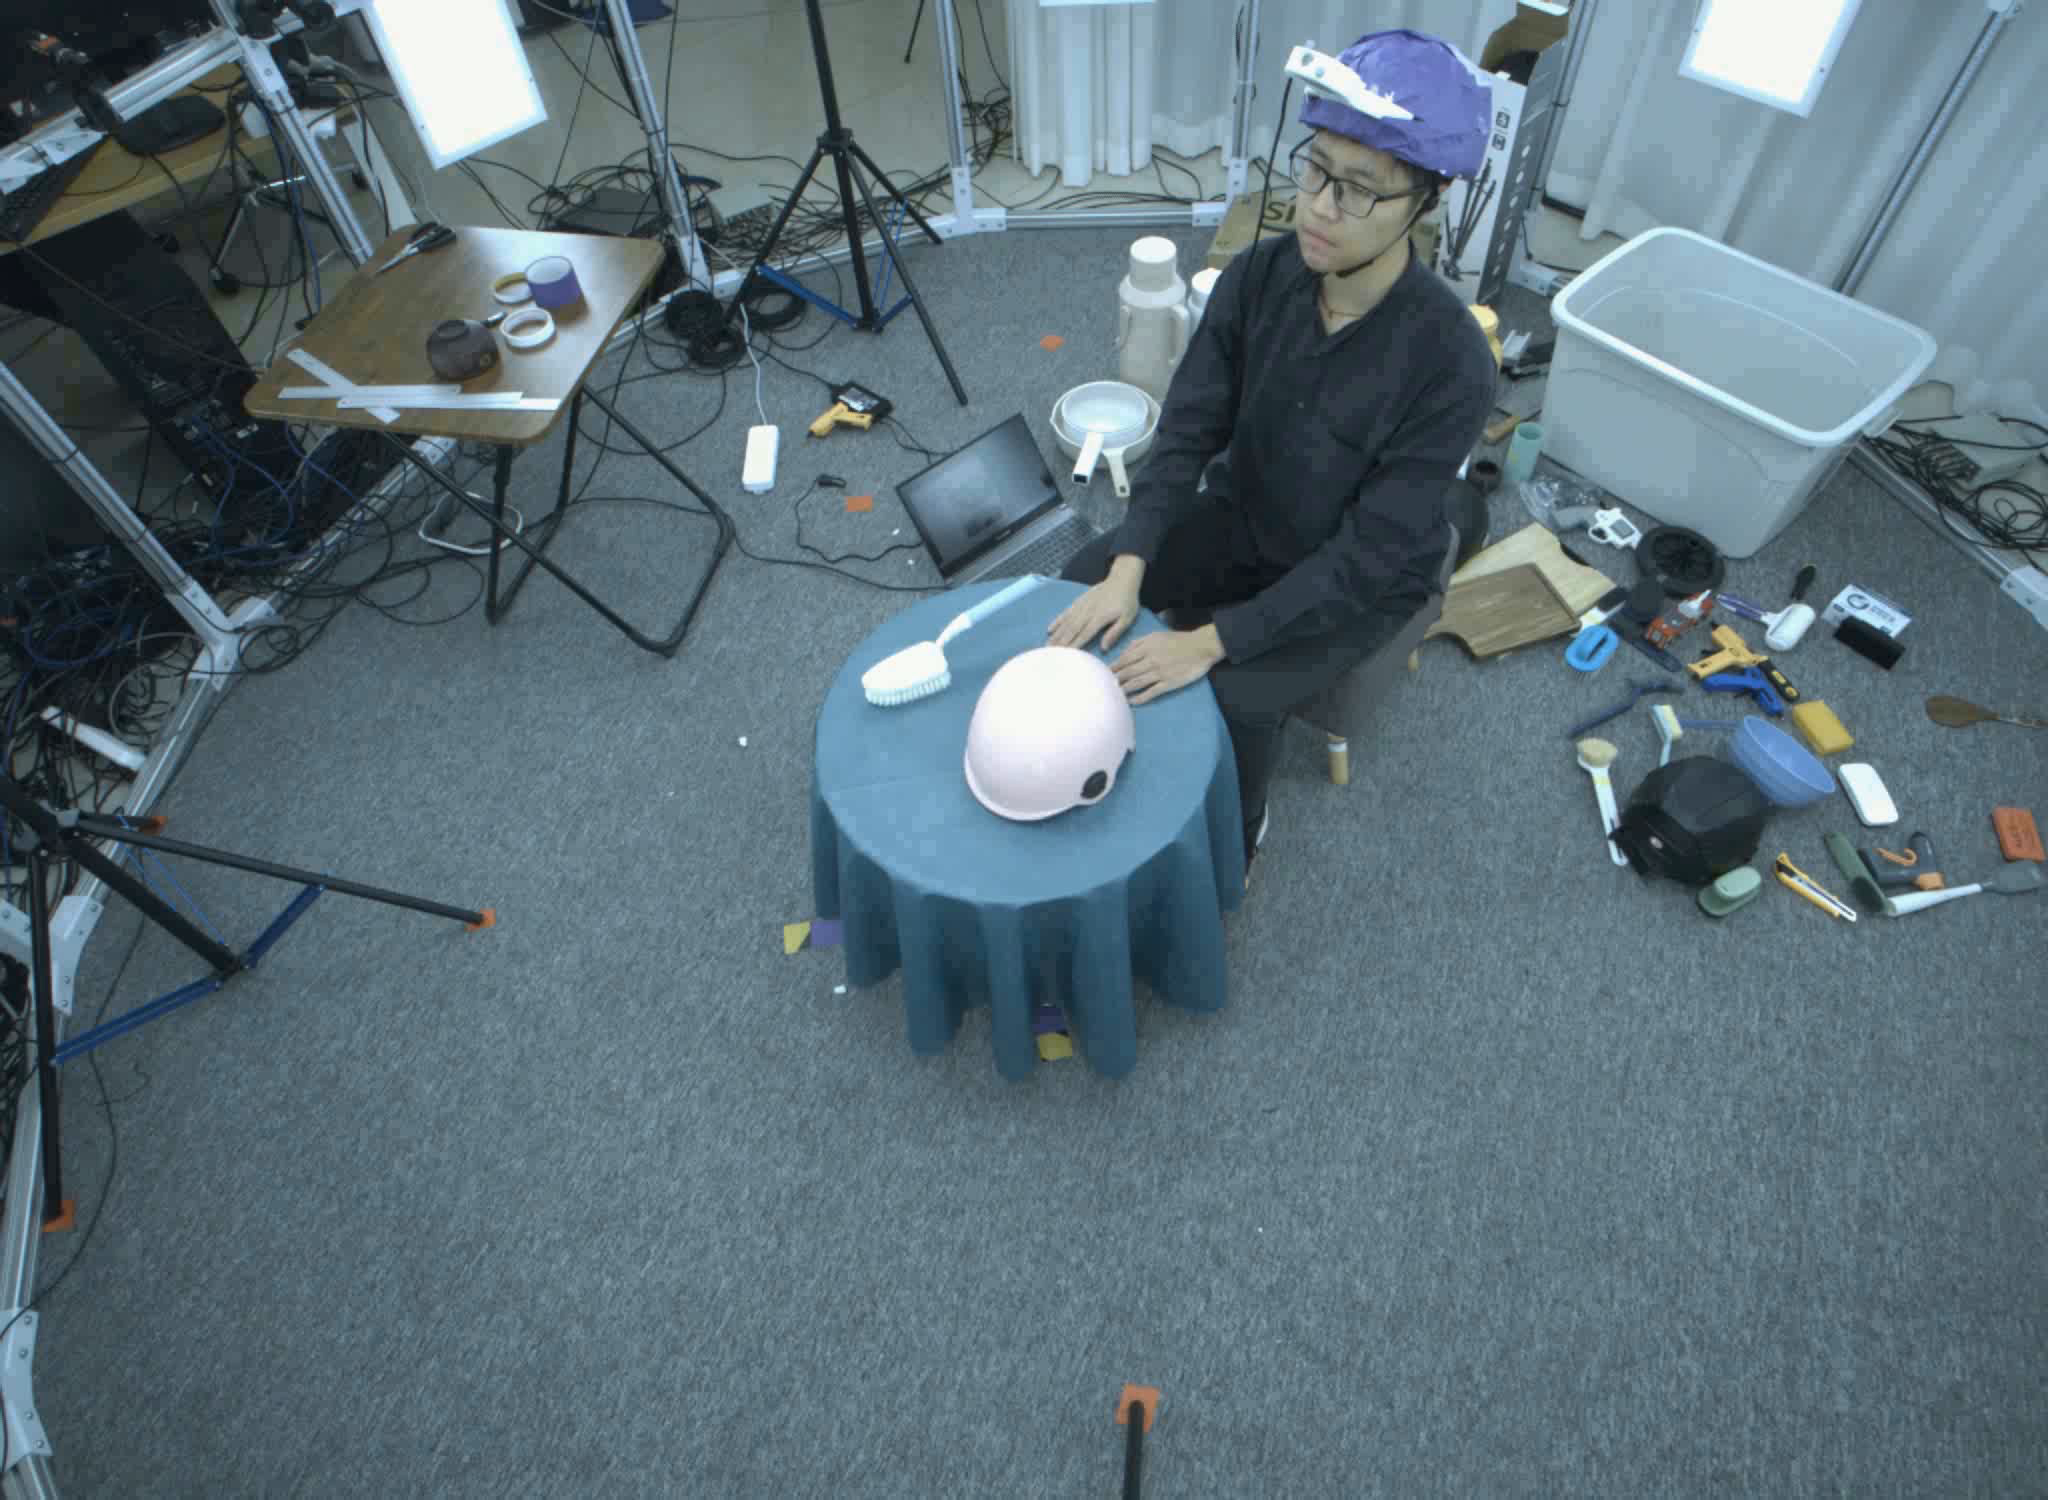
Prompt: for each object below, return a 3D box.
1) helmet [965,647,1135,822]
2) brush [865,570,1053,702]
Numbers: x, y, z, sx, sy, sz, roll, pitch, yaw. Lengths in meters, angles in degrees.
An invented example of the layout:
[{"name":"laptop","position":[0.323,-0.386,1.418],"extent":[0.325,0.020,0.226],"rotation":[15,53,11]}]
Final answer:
[{"name":"helmet","position":[0.029,-0.040,1.723],"extent":[0.230,0.161,0.267],"rotation":[33,66,22]},{"name":"brush","position":[-0.089,-0.161,1.854],"extent":[0.326,0.084,0.083],"rotation":[-31,94,-4]}]
